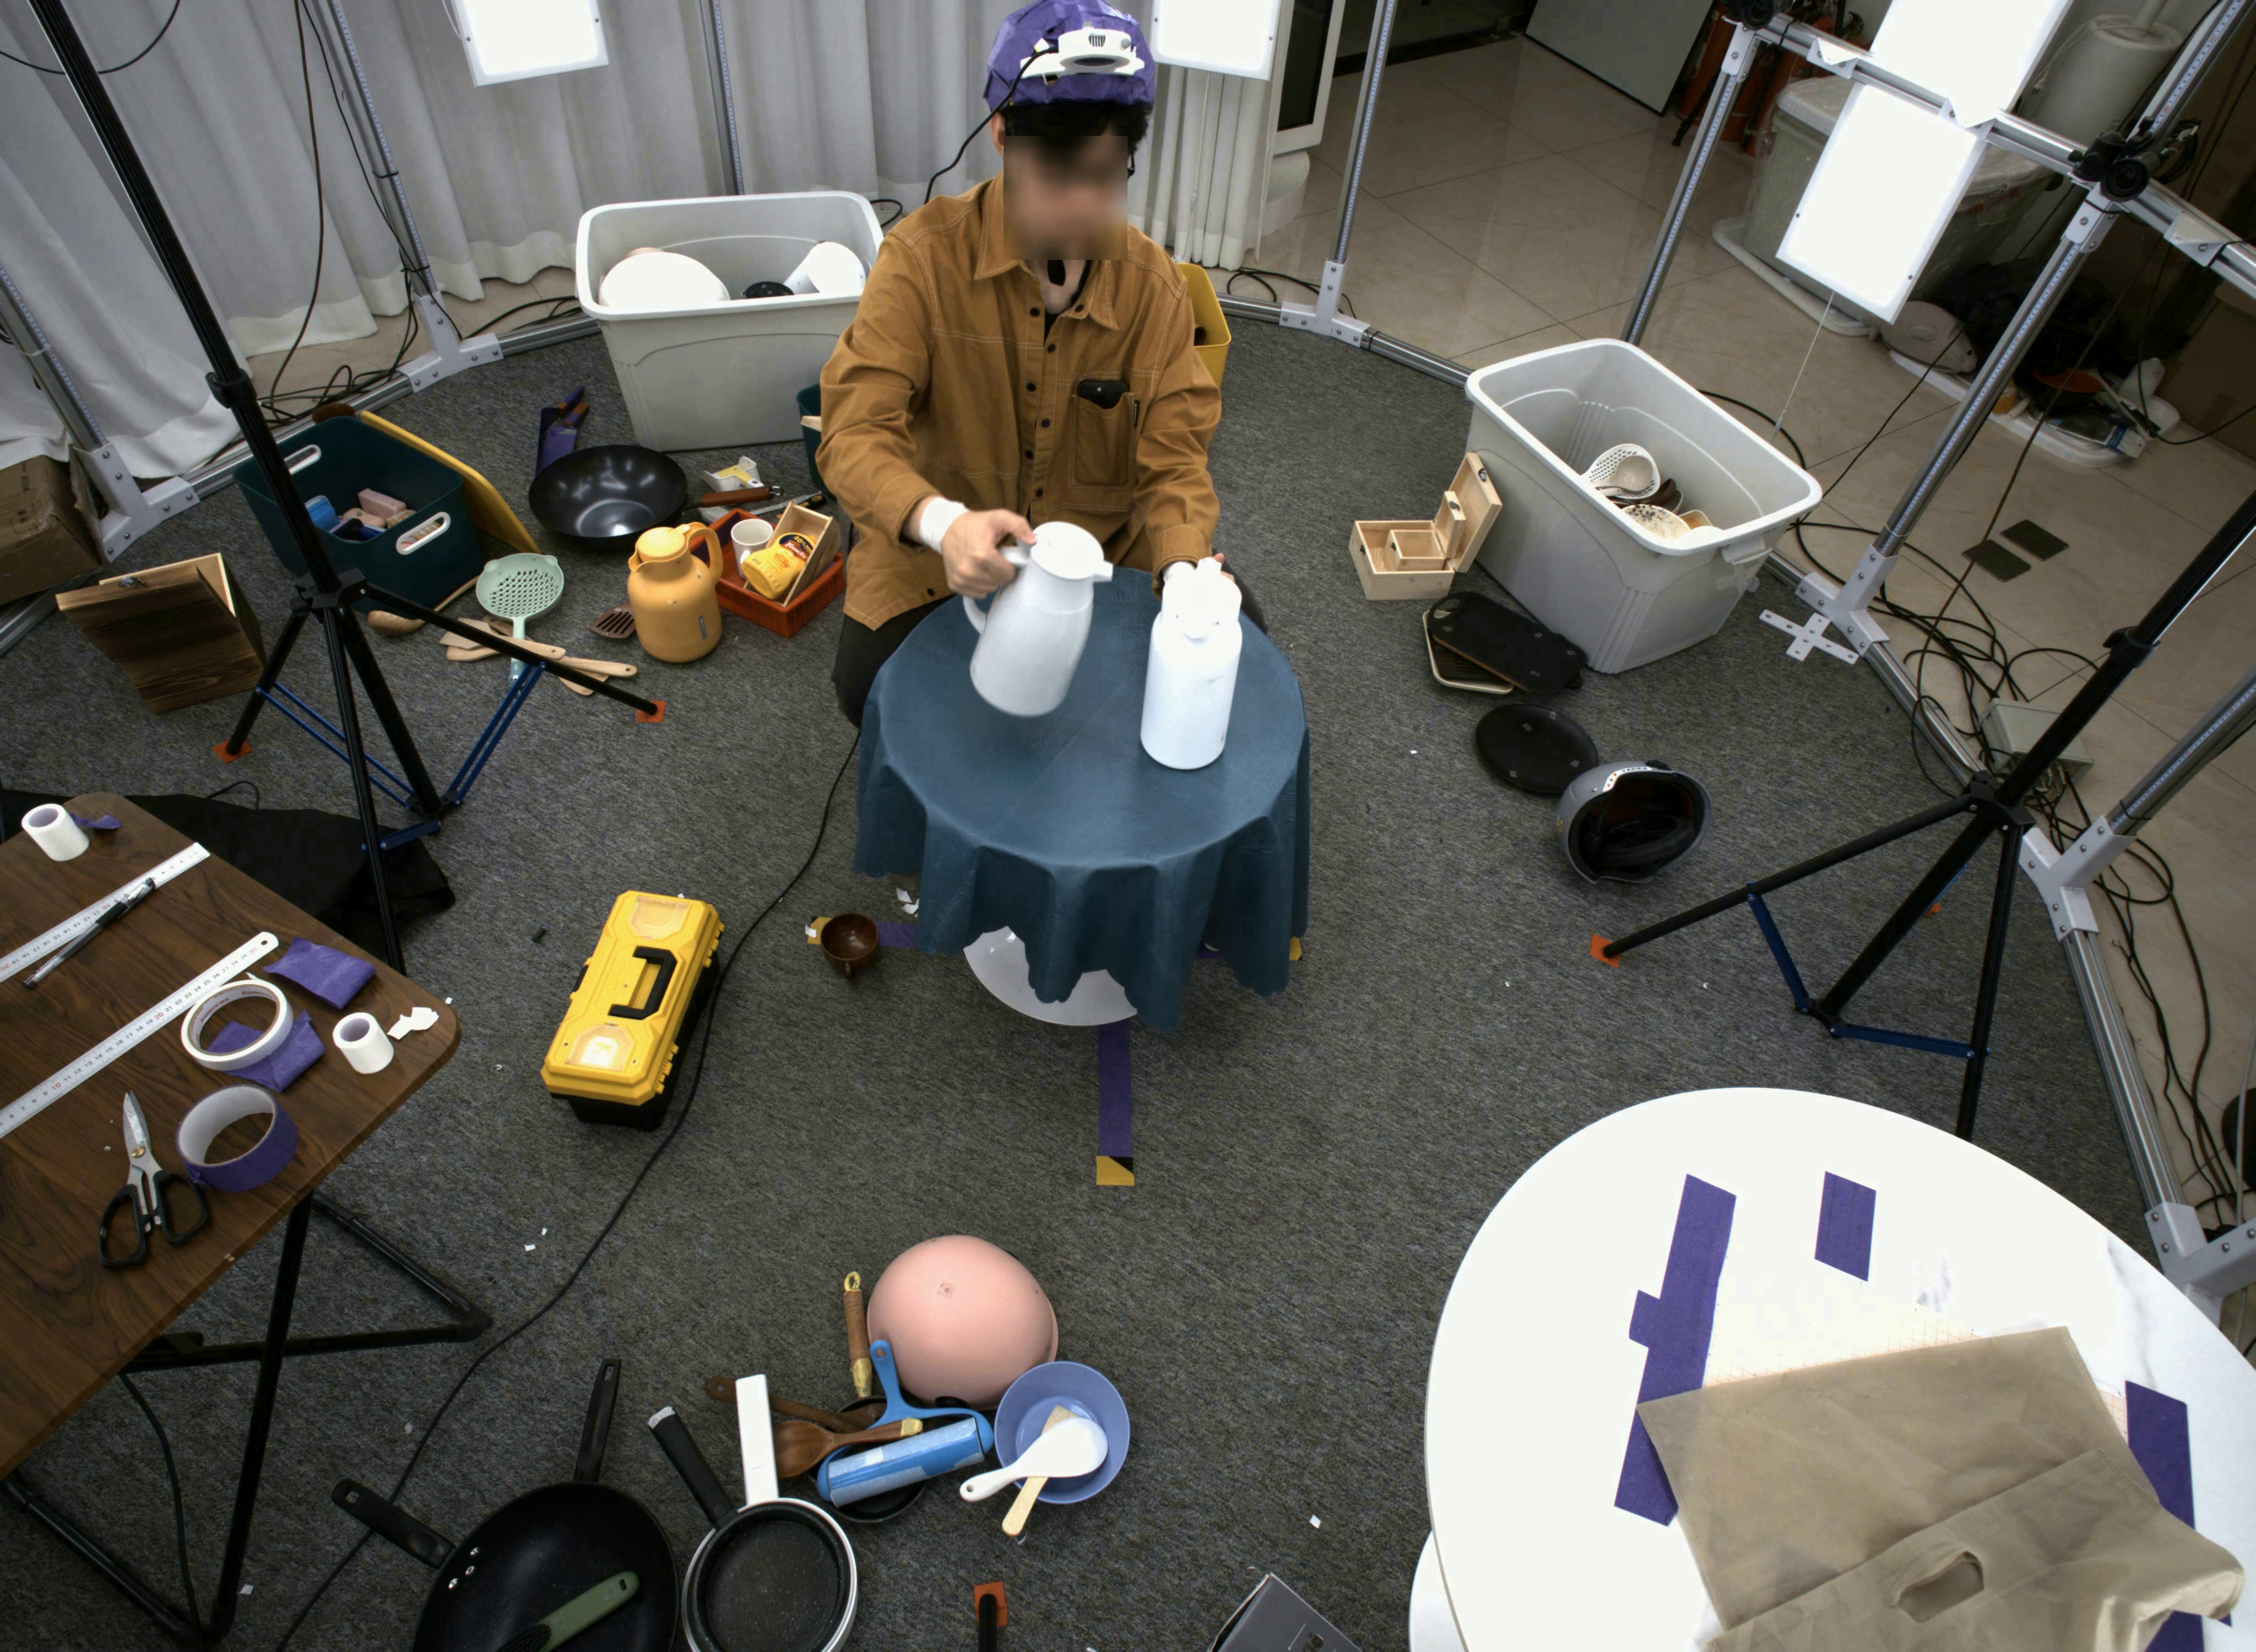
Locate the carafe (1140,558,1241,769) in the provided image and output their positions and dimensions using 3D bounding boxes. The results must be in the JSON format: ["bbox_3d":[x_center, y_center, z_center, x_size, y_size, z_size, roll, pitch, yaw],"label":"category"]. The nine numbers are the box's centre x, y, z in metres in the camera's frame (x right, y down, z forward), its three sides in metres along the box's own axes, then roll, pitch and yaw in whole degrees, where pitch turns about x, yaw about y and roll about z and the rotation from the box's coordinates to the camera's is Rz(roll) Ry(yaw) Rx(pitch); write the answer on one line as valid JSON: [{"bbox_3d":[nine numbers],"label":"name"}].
[{"bbox_3d":[0.084,-0.215,1.689,0.124,0.262,0.177,8,49,5],"label":"carafe"}]

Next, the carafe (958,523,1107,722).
[{"bbox_3d":[-0.129,-0.260,1.594,0.167,0.243,0.136,11,52,-10],"label":"carafe"}]
